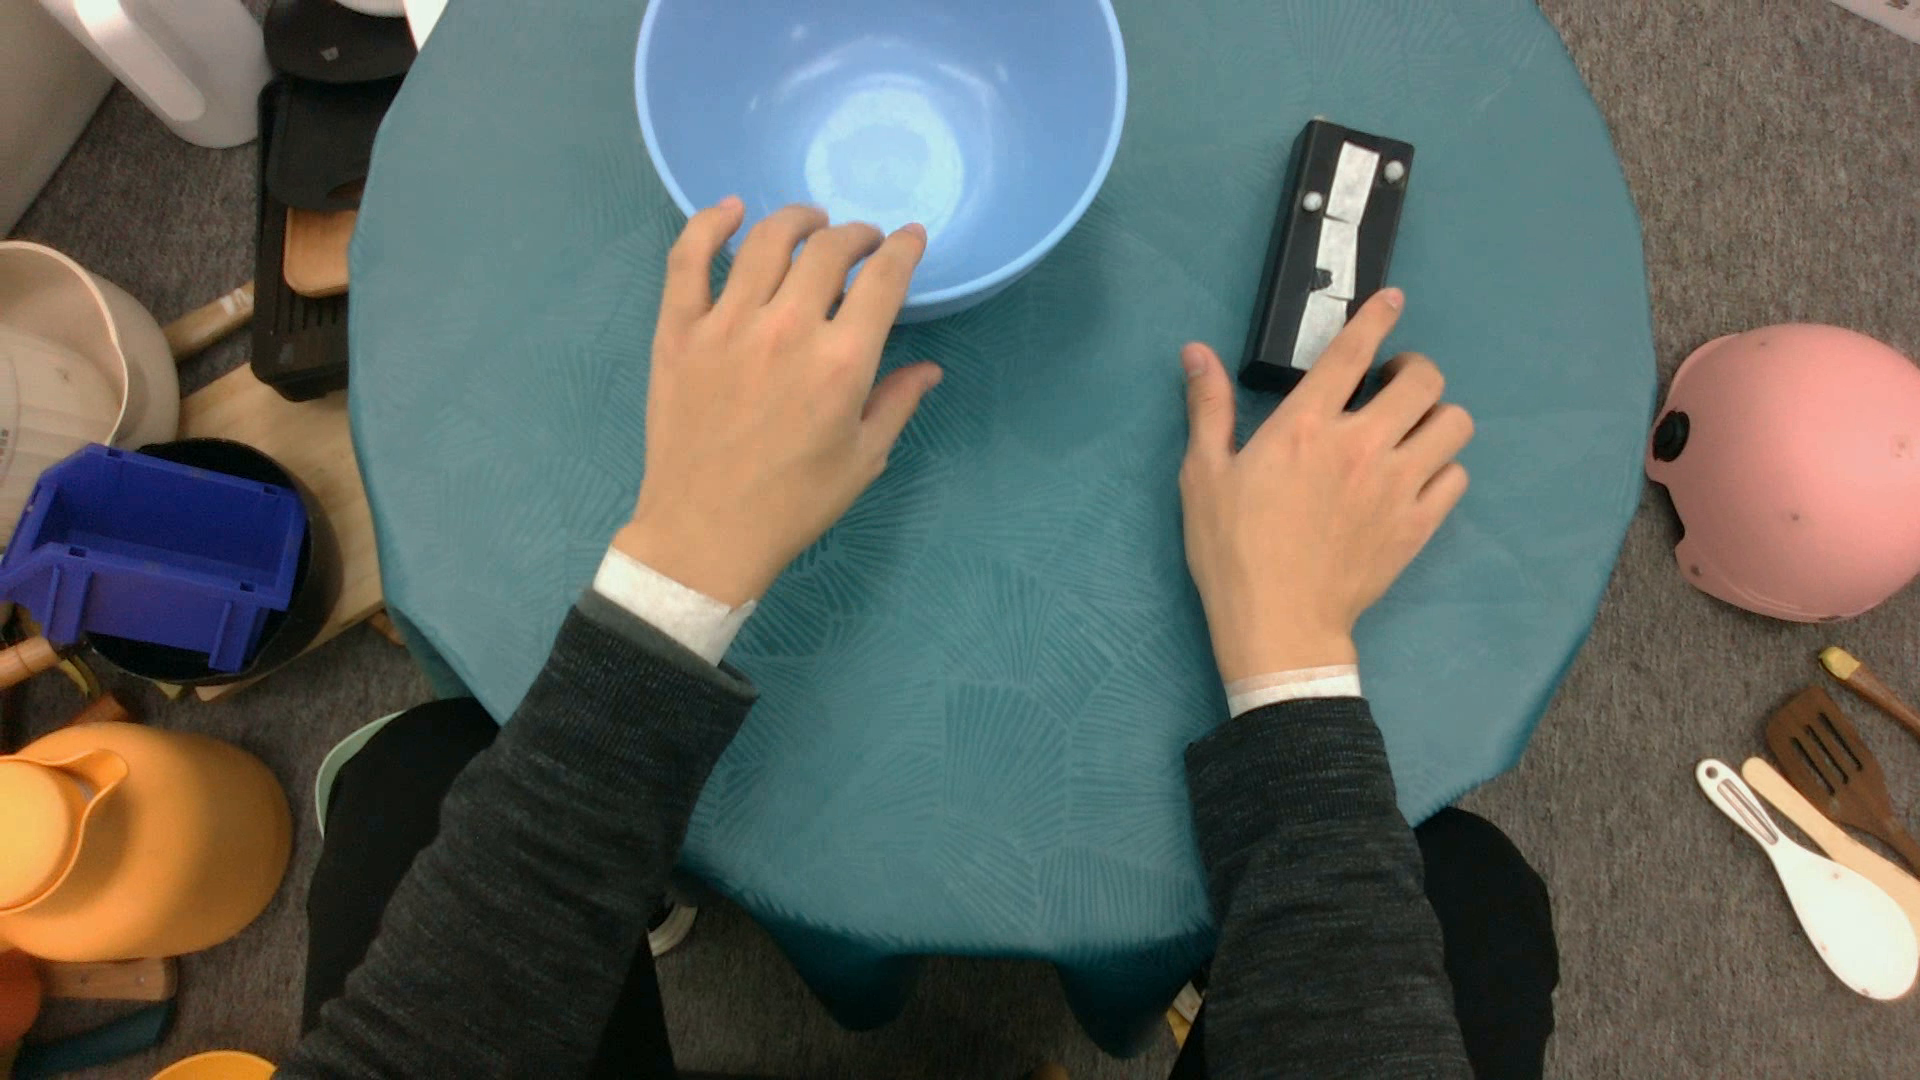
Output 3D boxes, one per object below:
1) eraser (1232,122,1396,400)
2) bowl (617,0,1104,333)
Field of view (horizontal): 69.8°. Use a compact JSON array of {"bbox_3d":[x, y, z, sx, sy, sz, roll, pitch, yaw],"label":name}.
[{"bbox_3d":[0.162,-0.129,0.634,0.053,0.030,0.126,13,77,3],"label":"eraser"},{"bbox_3d":[-0.044,-0.171,0.598,0.196,0.095,0.197,2,75,-9],"label":"bowl"}]
